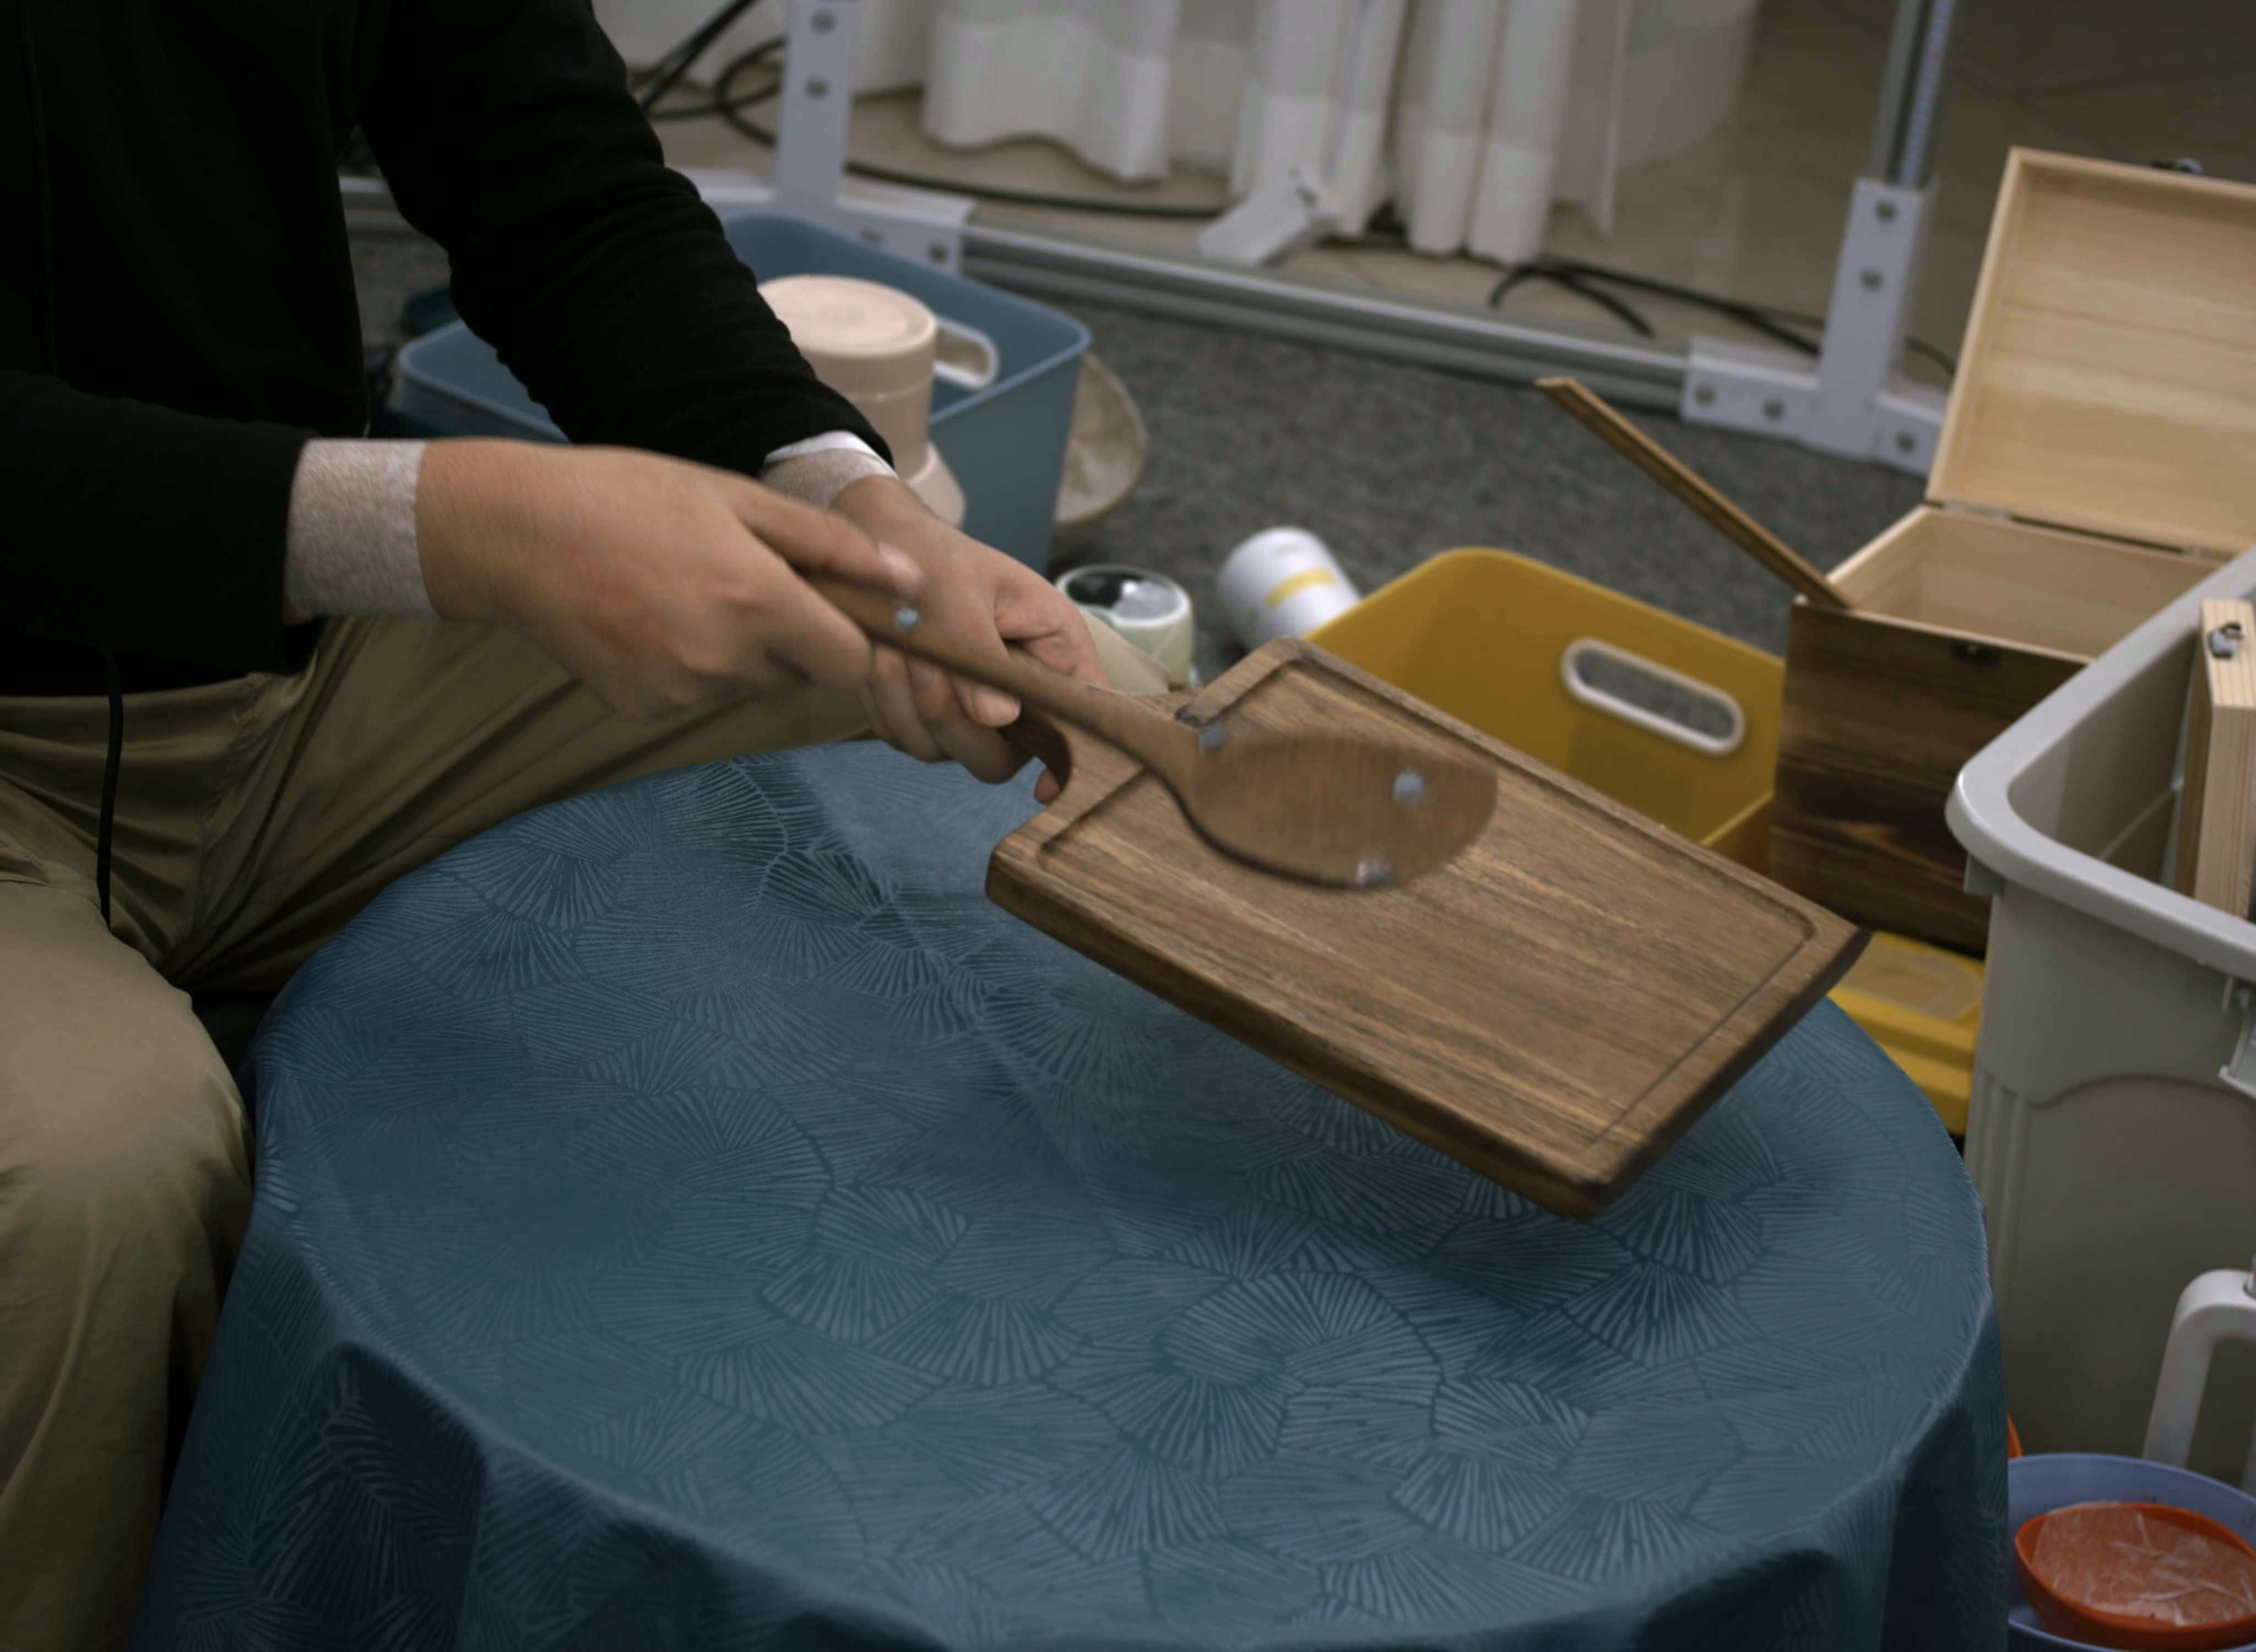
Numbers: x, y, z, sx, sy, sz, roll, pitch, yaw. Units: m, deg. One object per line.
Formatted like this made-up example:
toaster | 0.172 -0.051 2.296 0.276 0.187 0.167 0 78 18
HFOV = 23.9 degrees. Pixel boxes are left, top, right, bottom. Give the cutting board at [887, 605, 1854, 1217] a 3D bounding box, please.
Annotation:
cutting board | 0.062 0.006 1.872 0.354 0.023 0.201 28 40 22

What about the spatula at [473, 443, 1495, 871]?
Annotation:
spatula | -0.059 -0.064 1.763 0.387 0.016 0.096 22 37 23
